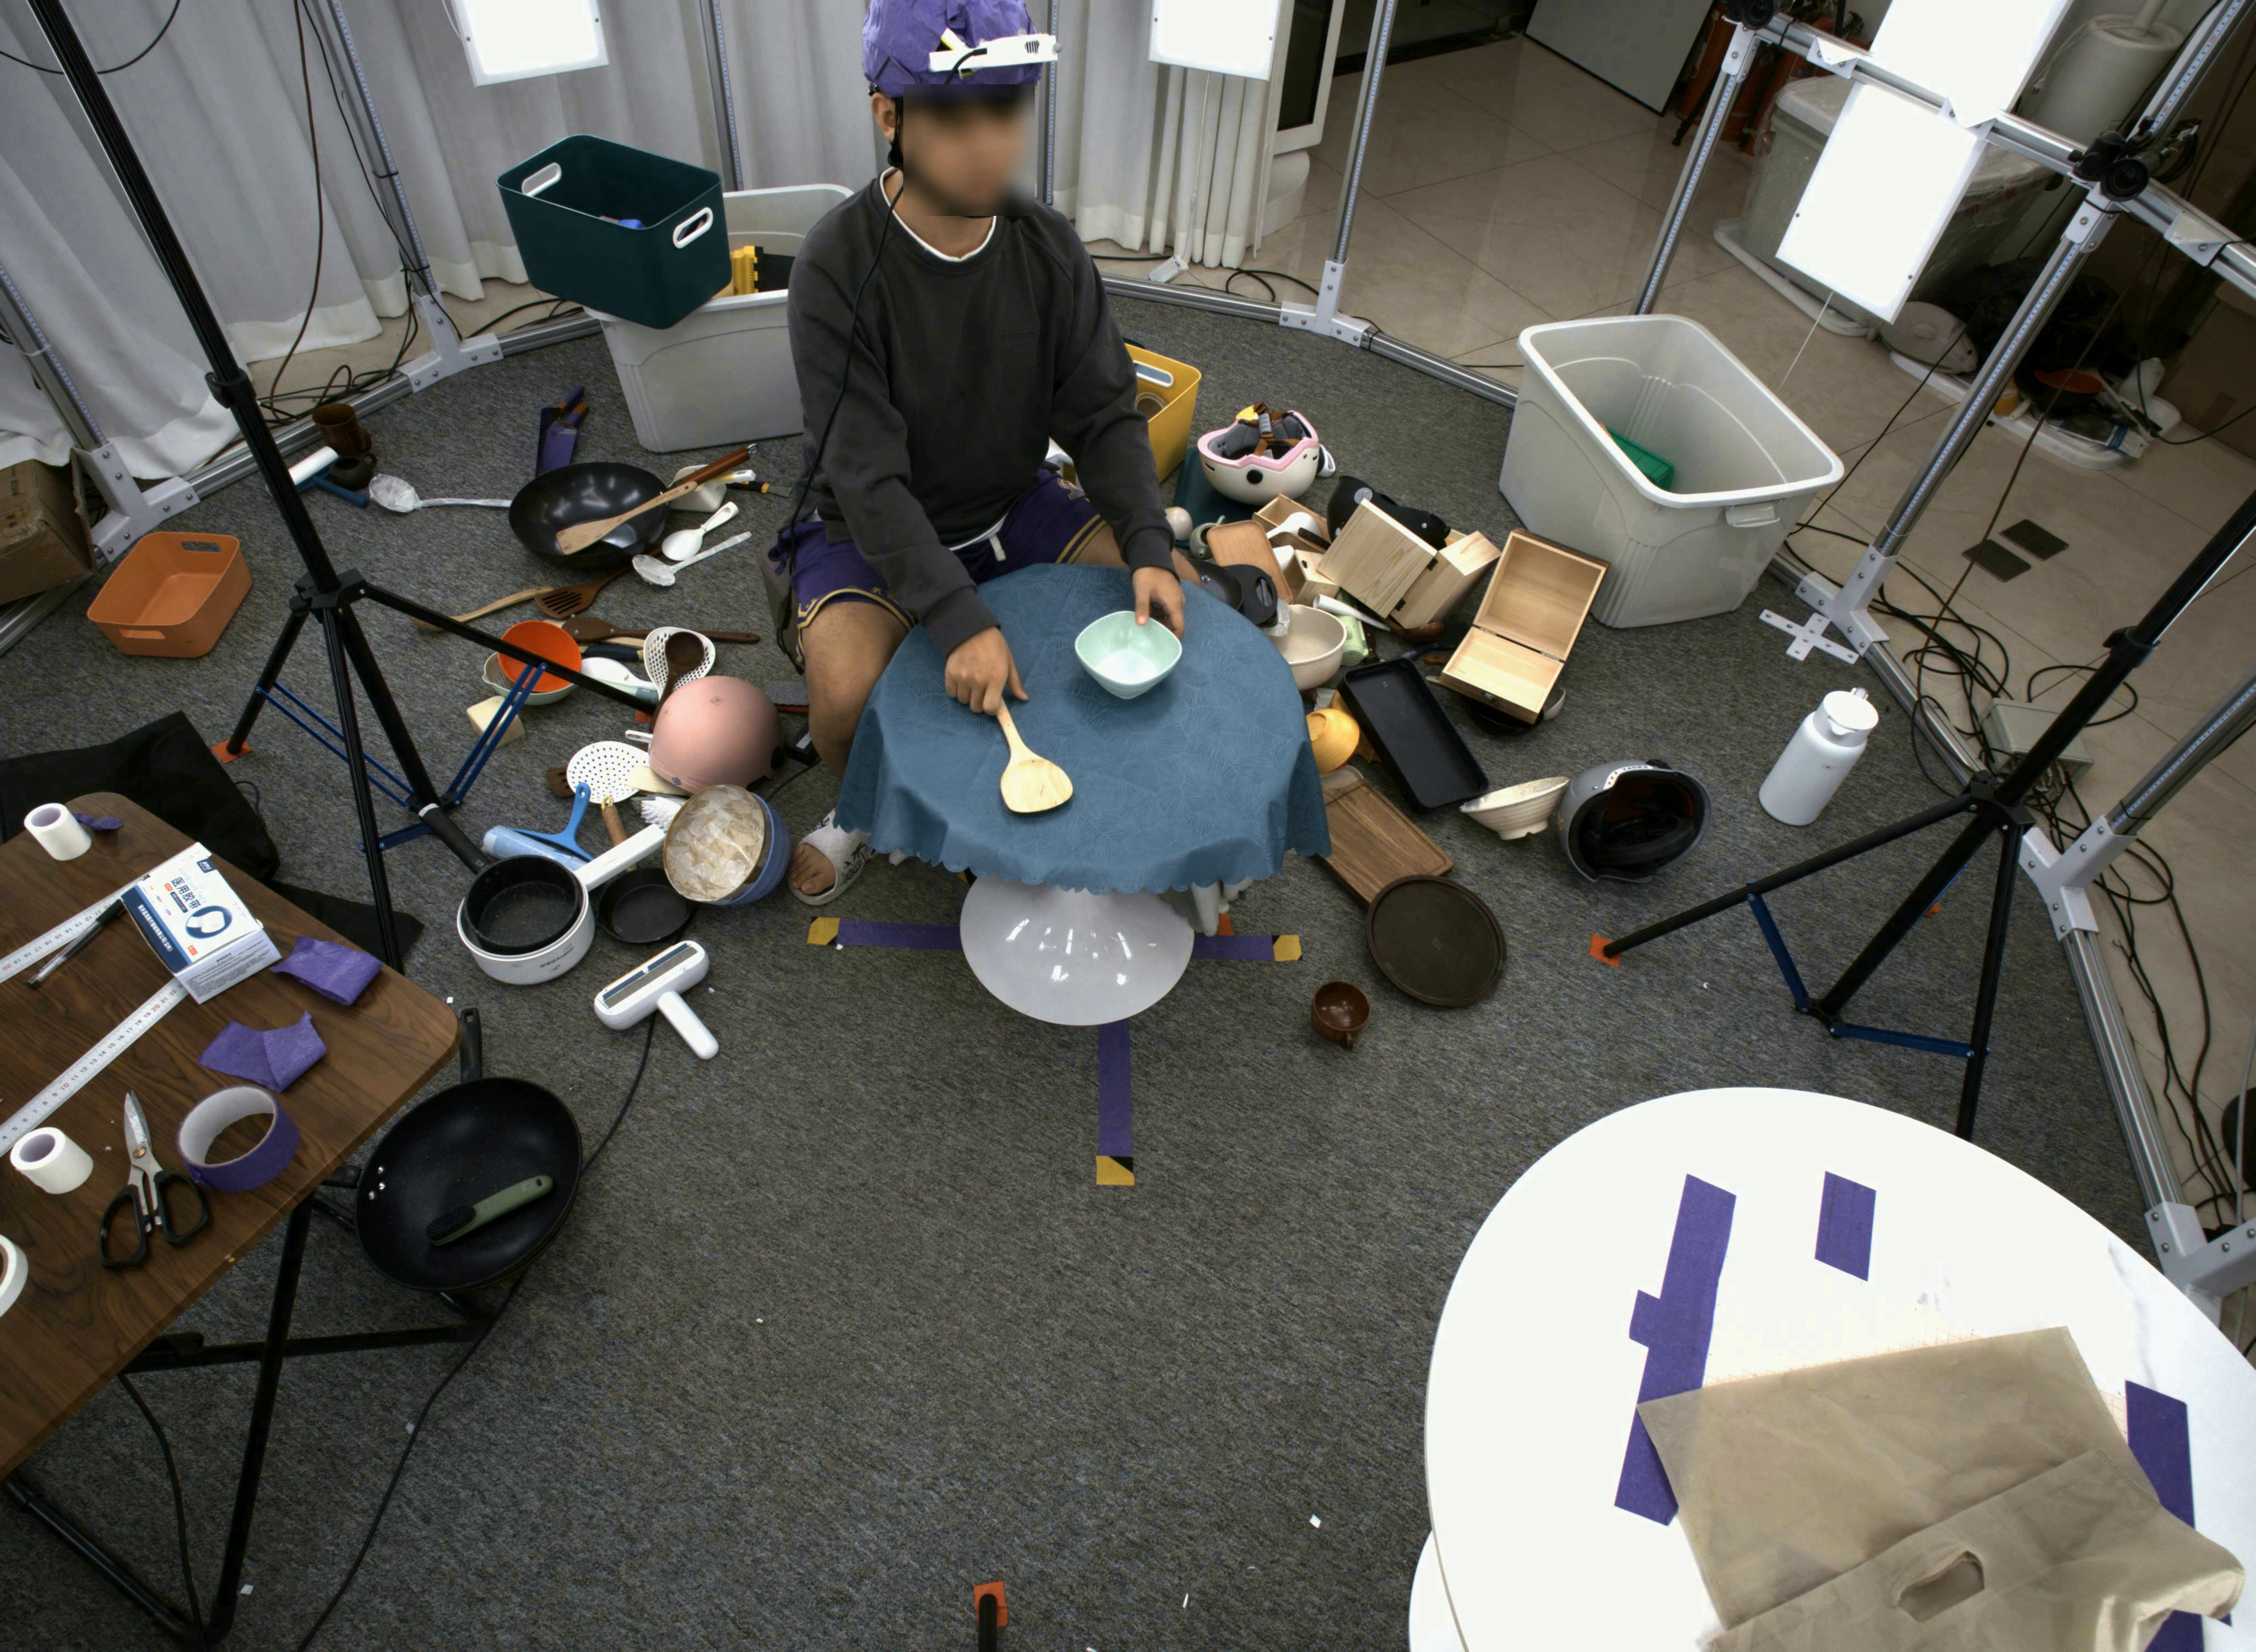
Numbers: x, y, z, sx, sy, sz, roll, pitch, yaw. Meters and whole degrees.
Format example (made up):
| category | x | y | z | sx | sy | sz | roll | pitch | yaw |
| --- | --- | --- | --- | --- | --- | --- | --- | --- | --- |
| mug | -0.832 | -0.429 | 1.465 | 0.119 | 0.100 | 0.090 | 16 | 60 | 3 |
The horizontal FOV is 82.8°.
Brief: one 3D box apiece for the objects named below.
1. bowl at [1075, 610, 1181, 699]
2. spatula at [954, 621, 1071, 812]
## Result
| category | x | y | z | sx | sy | sz | roll | pitch | yaw |
| --- | --- | --- | --- | --- | --- | --- | --- | --- | --- |
| bowl | -0.002 | -0.237 | 1.836 | 0.151 | 0.057 | 0.155 | 3 | 50 | -3 |
| spatula | -0.182 | -0.160 | 1.781 | 0.096 | 0.018 | 0.400 | -13 | 51 | -17 |
